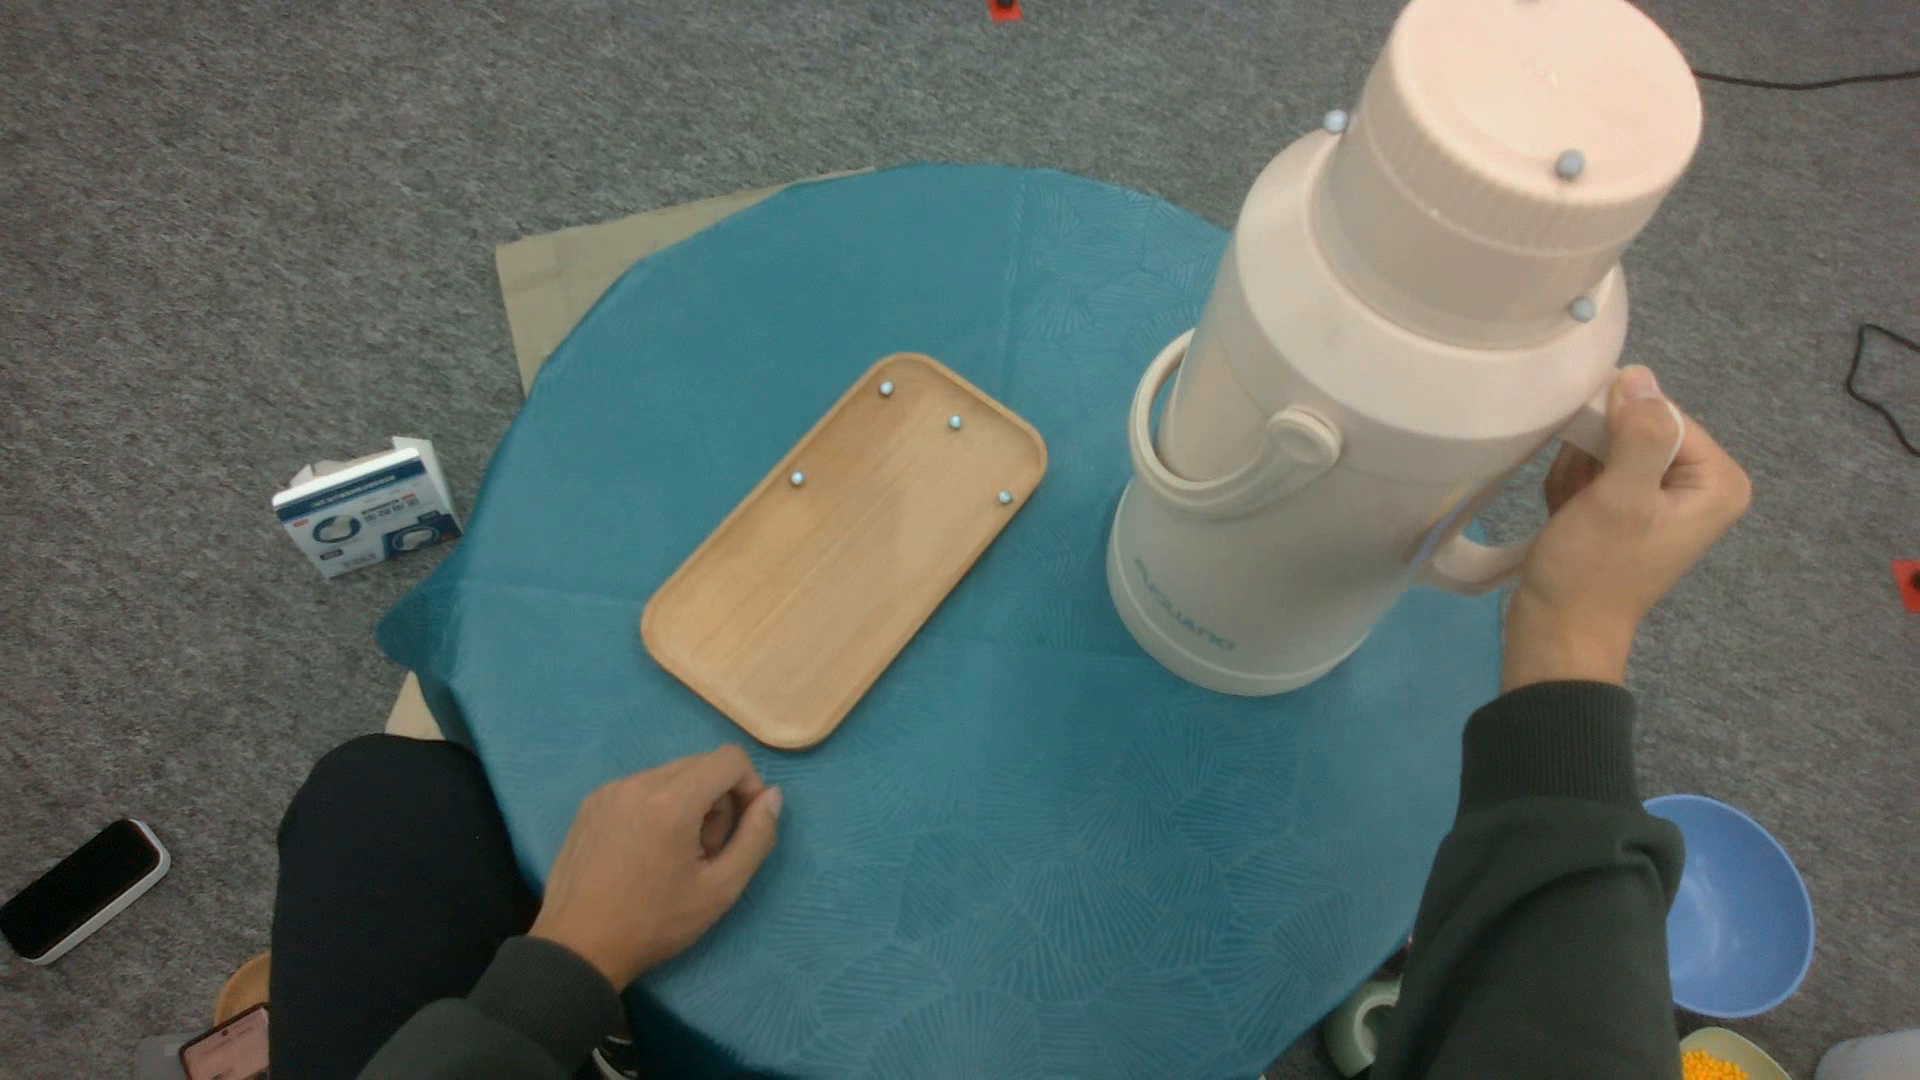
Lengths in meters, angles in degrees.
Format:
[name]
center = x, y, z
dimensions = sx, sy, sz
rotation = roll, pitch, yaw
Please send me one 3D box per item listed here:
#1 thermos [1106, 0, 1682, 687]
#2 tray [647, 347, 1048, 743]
[thermos]
center = 0.190, -0.060, 0.643
dimensions = 0.207, 0.404, 0.176
rotation = 35, 66, 12
[tray]
center = -0.061, -0.003, 0.805
dimensions = 0.130, 0.023, 0.251
rotation = 35, 68, 14
